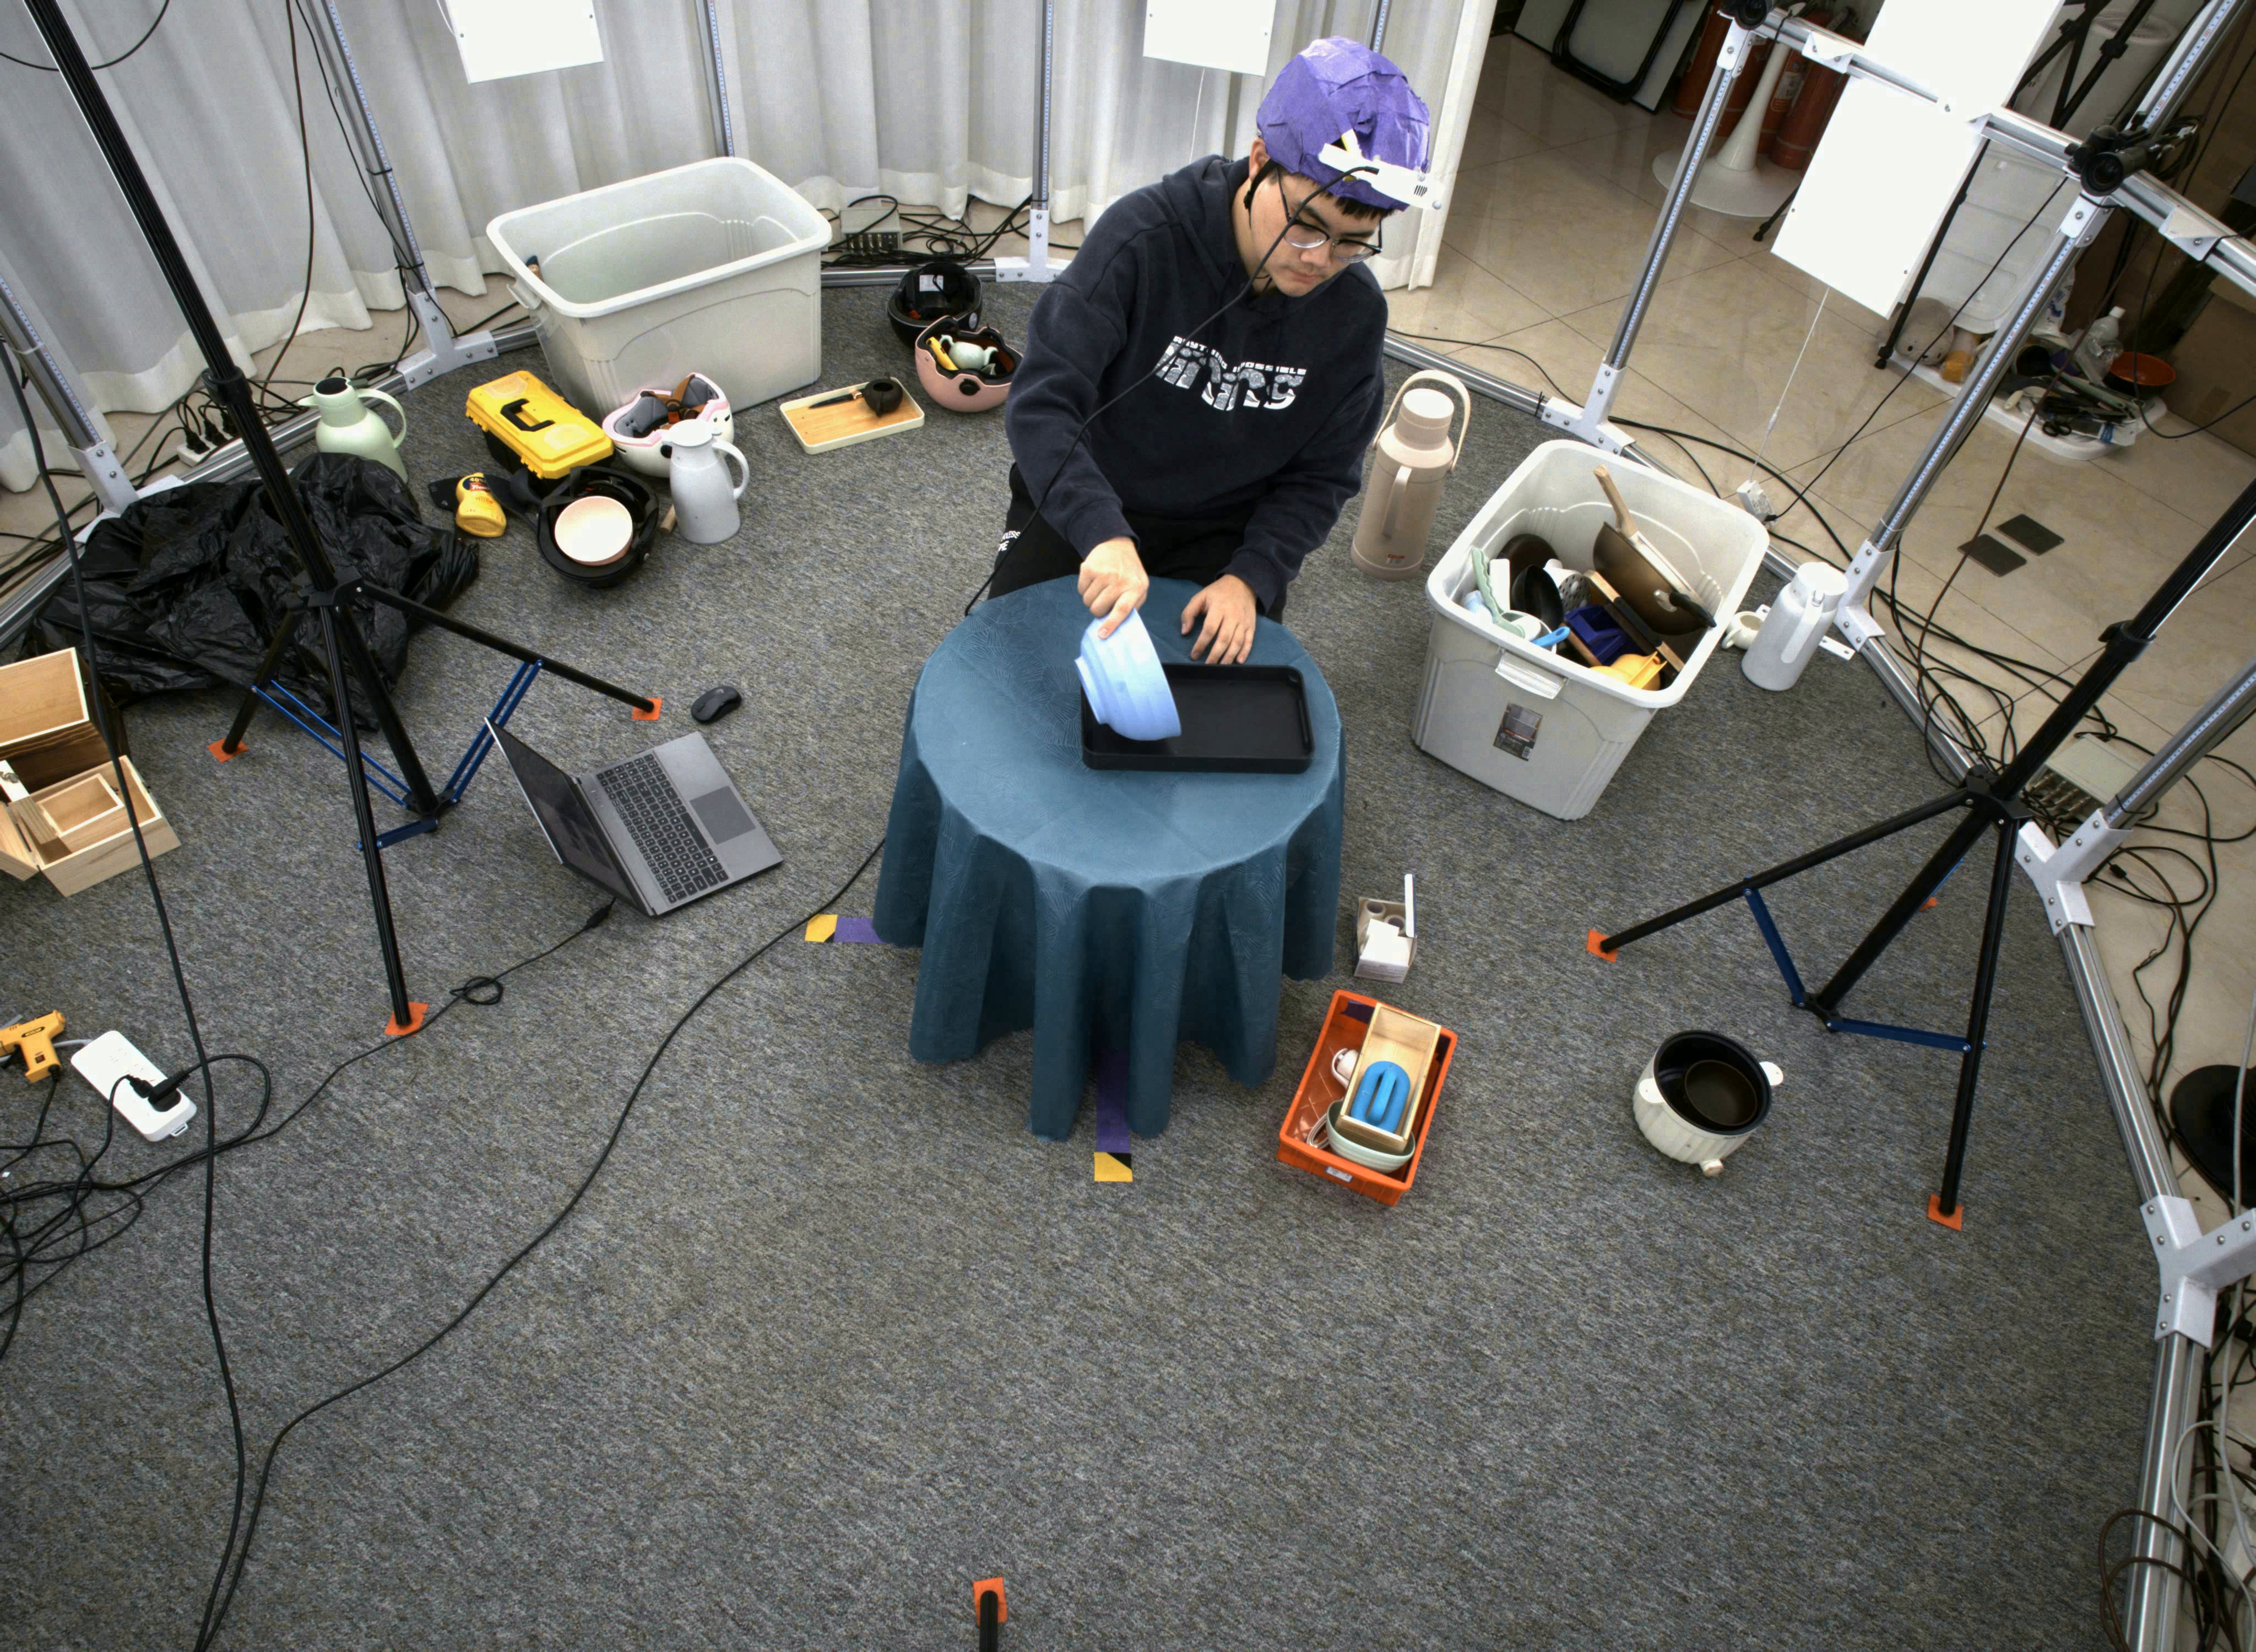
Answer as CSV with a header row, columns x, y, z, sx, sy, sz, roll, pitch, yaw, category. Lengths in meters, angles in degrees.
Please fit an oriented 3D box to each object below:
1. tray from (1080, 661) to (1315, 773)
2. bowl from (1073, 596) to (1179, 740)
x,y,z,sx,sy,sz,roll,pitch,yaw,category
0.091,-0.154,1.781,0.317,0.036,0.189,1,49,-4,tray
-0.012,-0.194,1.690,0.095,0.192,0.201,-22,53,-1,bowl
